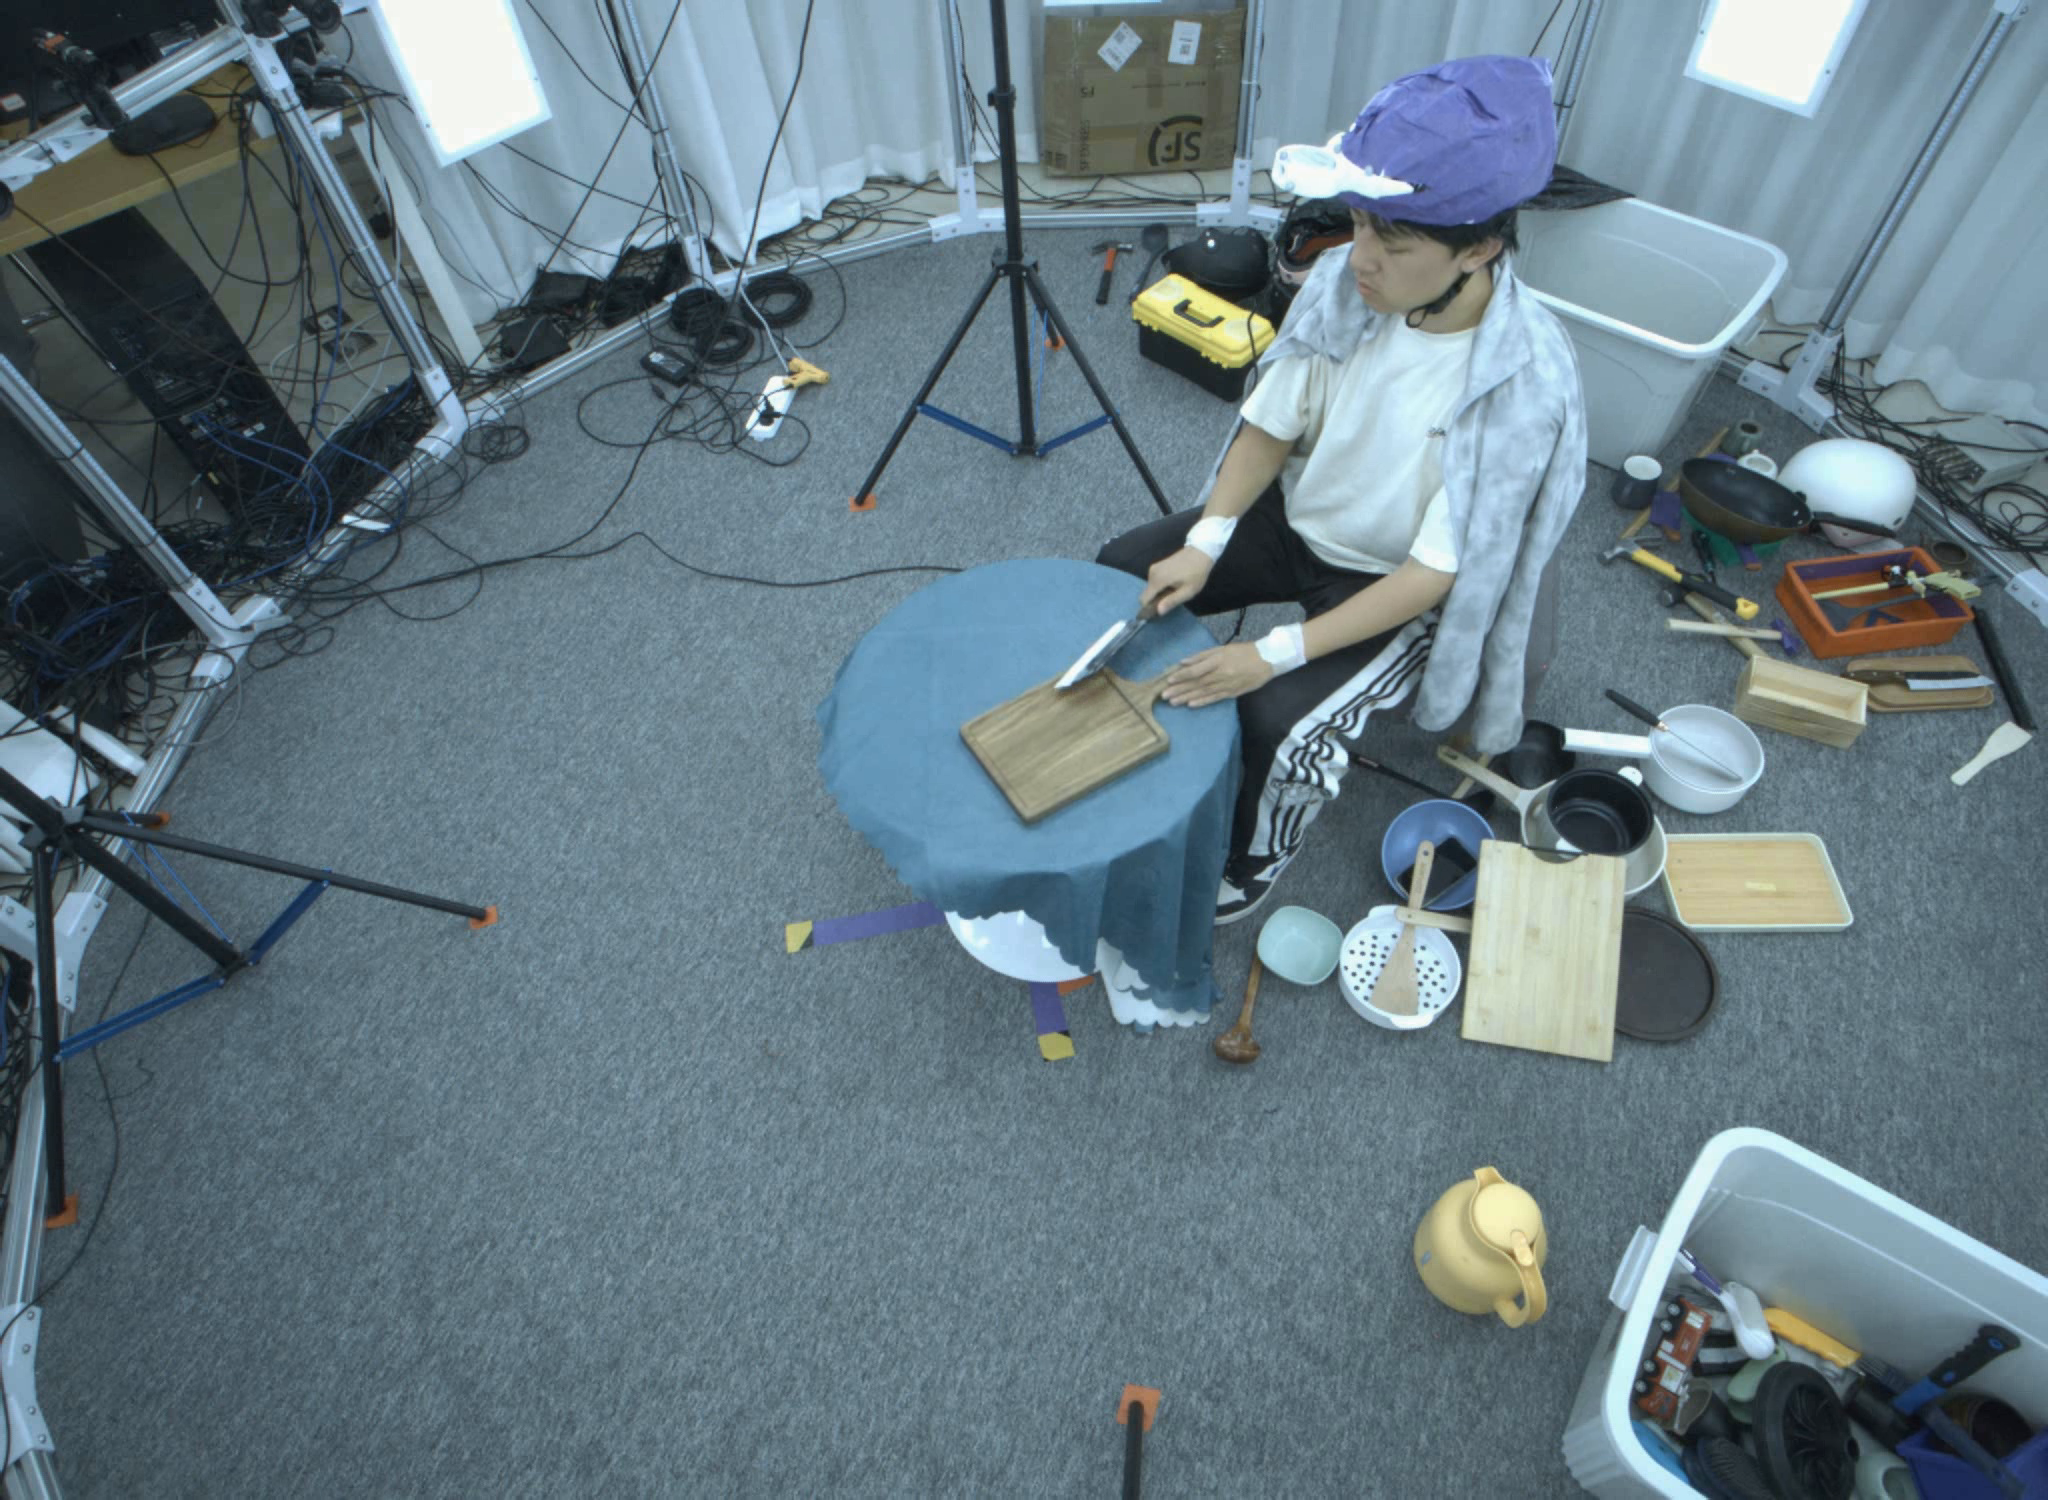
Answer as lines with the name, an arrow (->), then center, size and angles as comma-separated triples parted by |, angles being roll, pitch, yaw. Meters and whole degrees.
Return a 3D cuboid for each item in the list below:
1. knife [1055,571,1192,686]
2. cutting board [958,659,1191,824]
knife -> 0.153, -0.185, 1.876 | 0.066, 0.024, 0.301 | 6, 42, 49
cutting board -> 0.100, -0.042, 1.803 | 0.355, 0.023, 0.197 | -28, 59, -17
